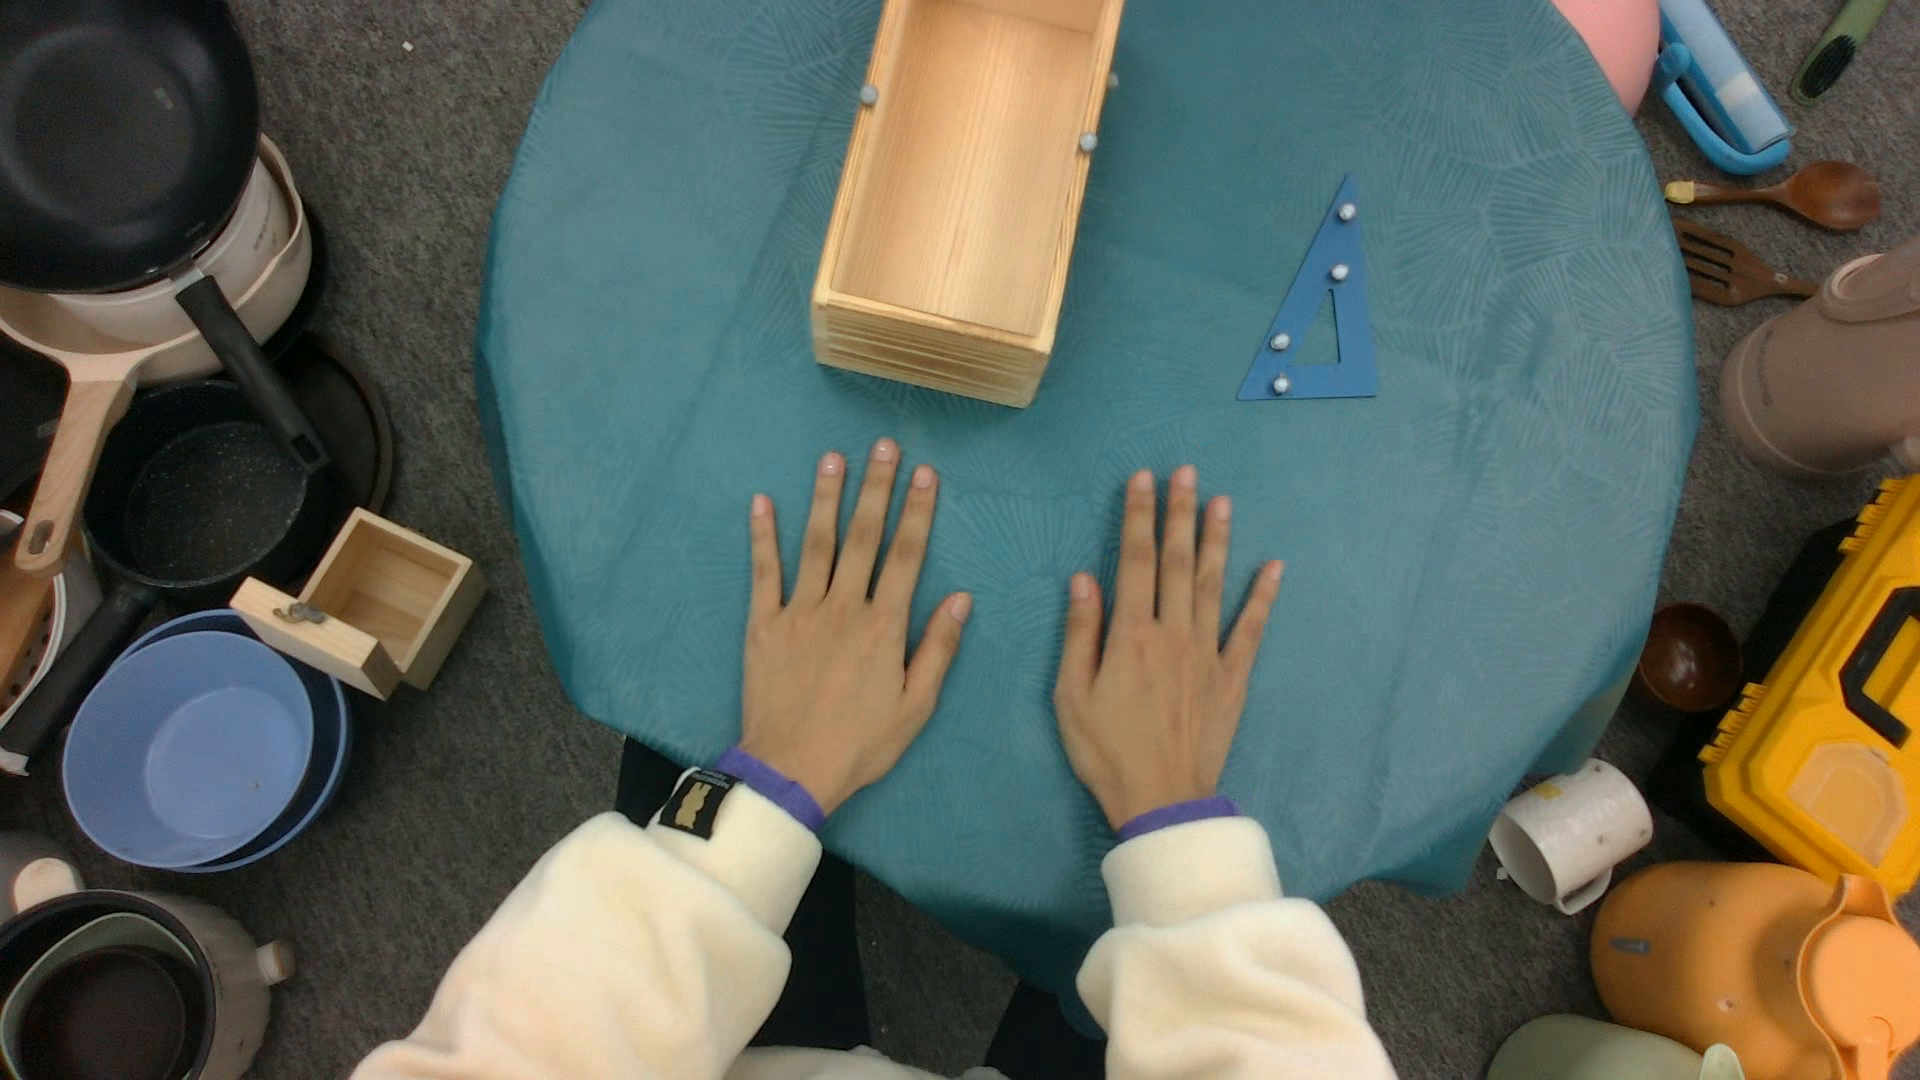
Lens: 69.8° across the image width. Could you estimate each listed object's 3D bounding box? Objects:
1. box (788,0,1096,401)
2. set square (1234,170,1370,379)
[{"bbox_3d":[-0.005,-0.185,0.650,0.107,0.080,0.212,11,76,-2],"label":"box"},{"bbox_3d":[0.192,-0.126,0.694,0.061,0.006,0.132,31,76,3],"label":"set square"}]
